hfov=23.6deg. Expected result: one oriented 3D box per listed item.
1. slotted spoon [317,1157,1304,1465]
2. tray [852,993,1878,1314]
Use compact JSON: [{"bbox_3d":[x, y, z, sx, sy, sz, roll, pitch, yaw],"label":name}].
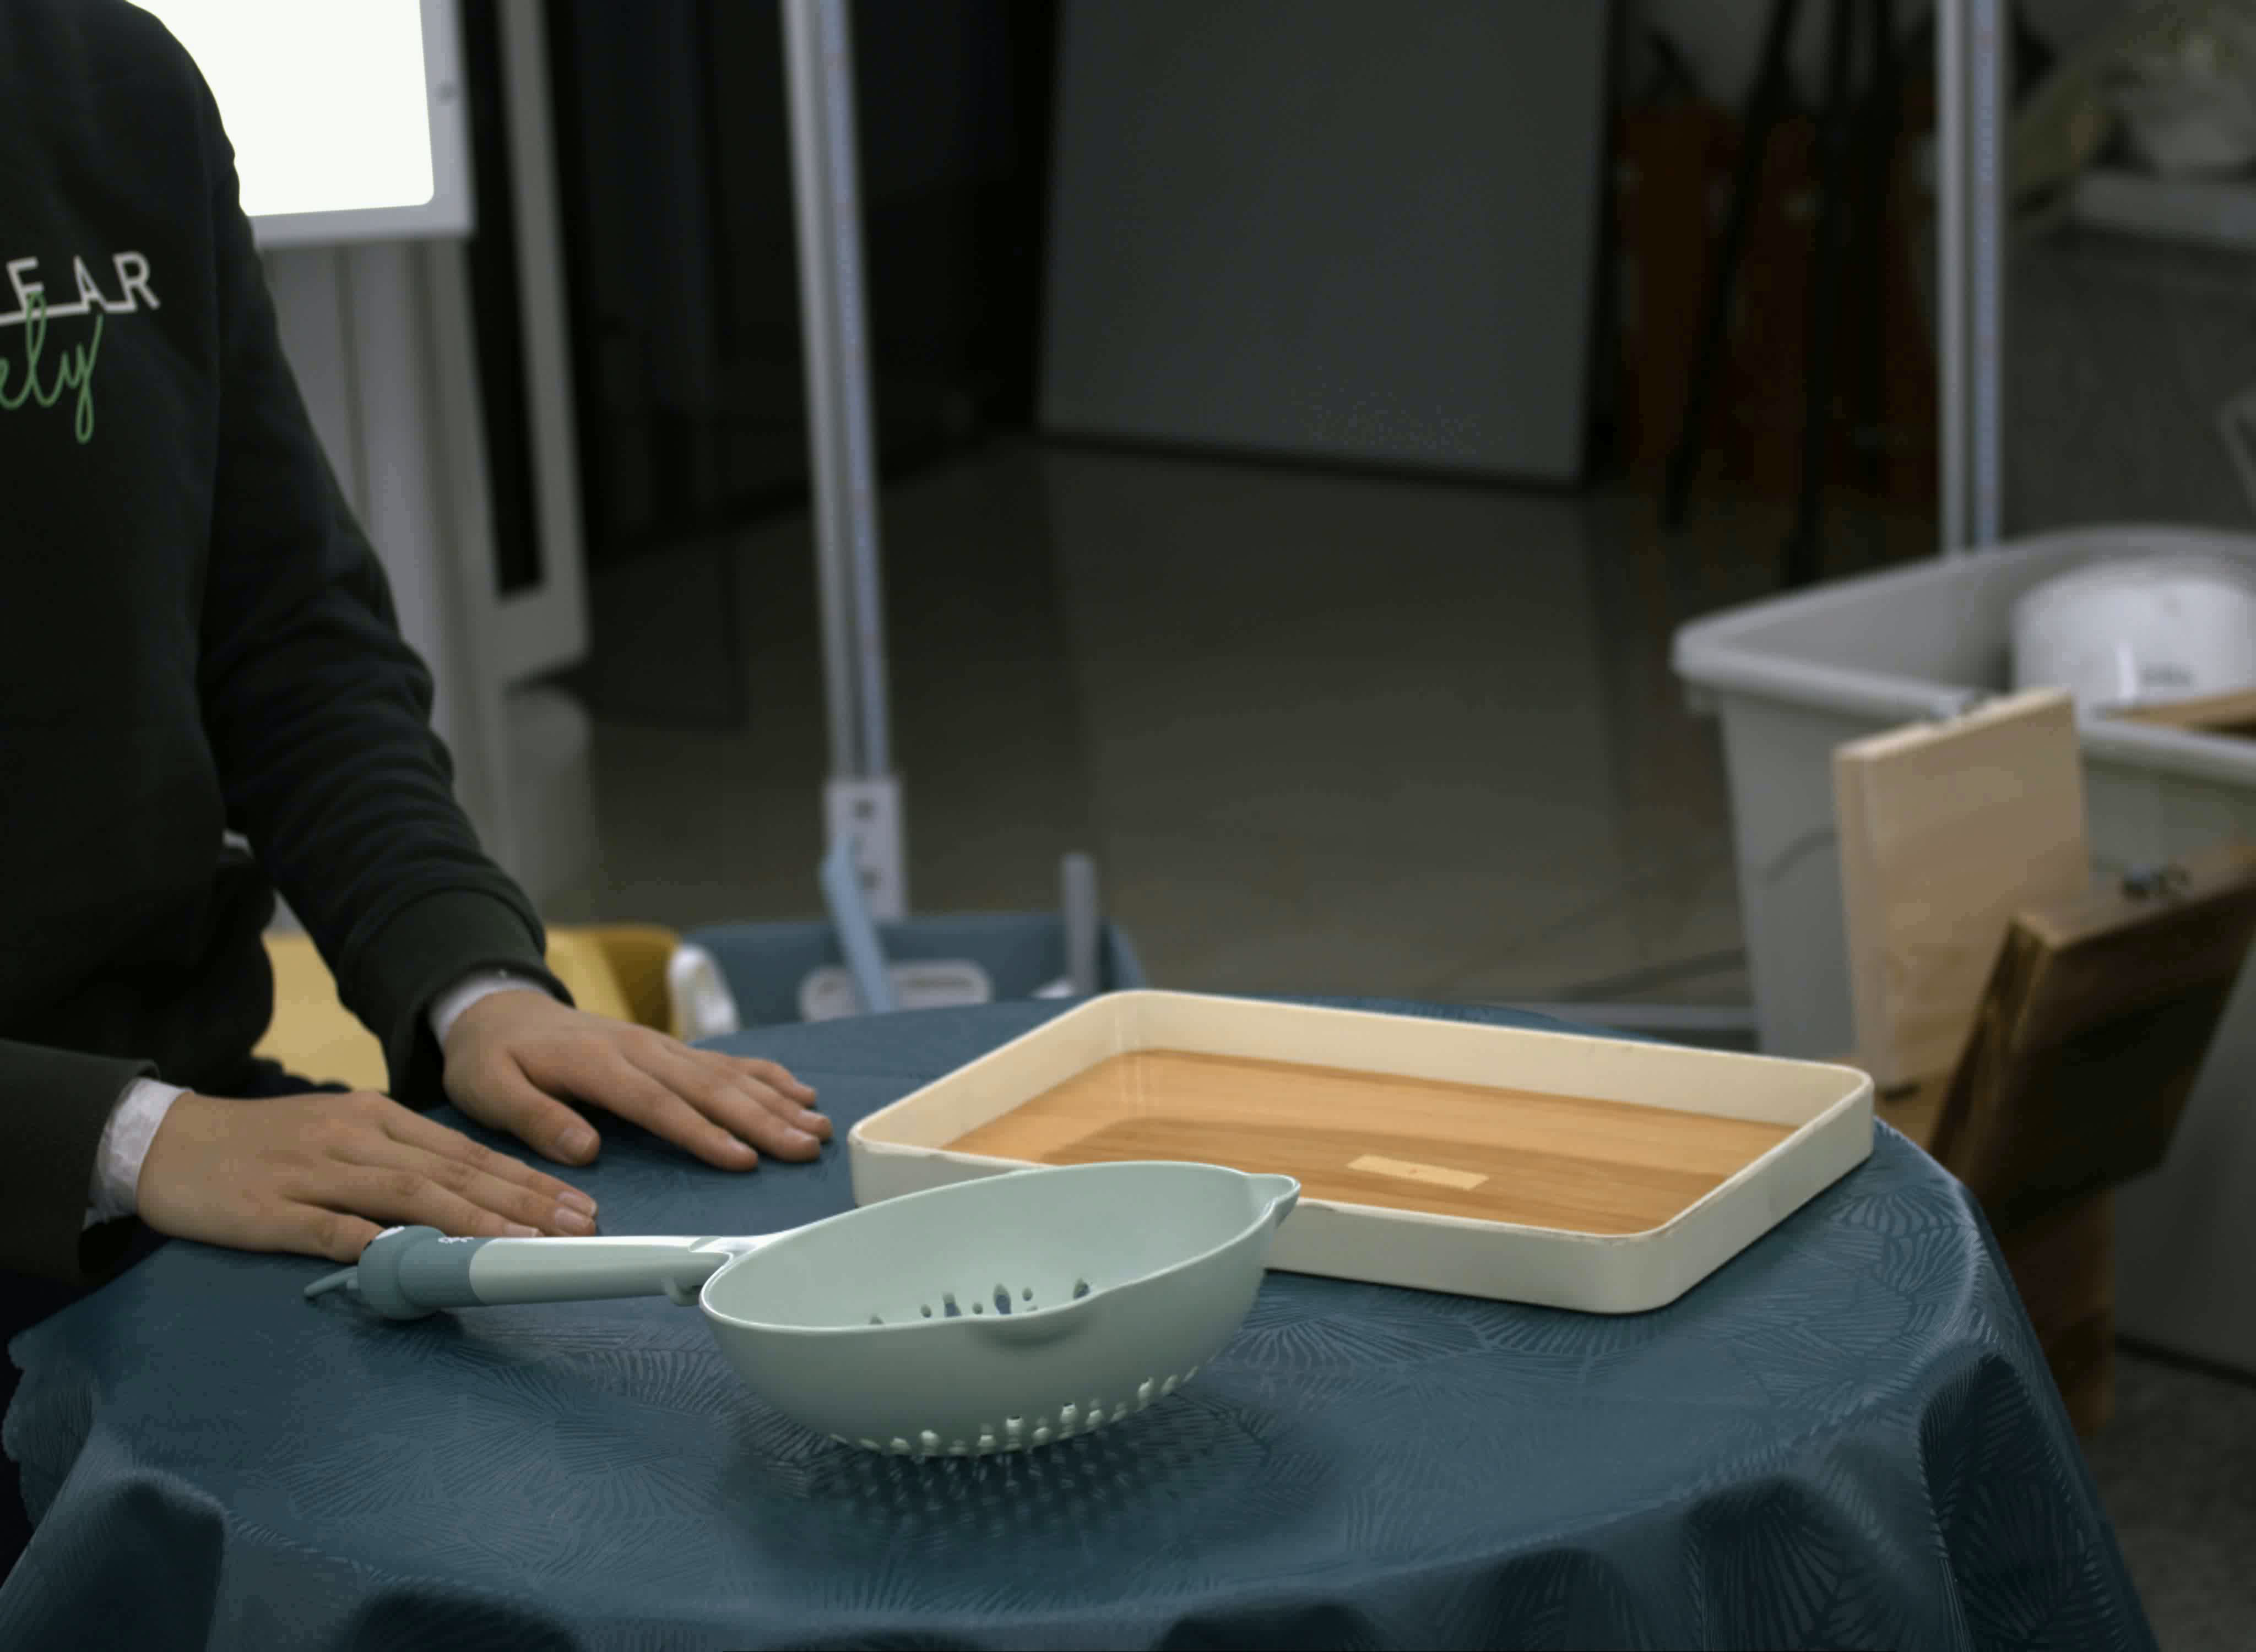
[{"bbox_3d":[-0.114,0.137,1.609,0.361,0.076,0.166,6,16,36],"label":"slotted spoon"},{"bbox_3d":[0.078,0.104,1.763,0.302,0.028,0.188,5,17,32],"label":"tray"}]
